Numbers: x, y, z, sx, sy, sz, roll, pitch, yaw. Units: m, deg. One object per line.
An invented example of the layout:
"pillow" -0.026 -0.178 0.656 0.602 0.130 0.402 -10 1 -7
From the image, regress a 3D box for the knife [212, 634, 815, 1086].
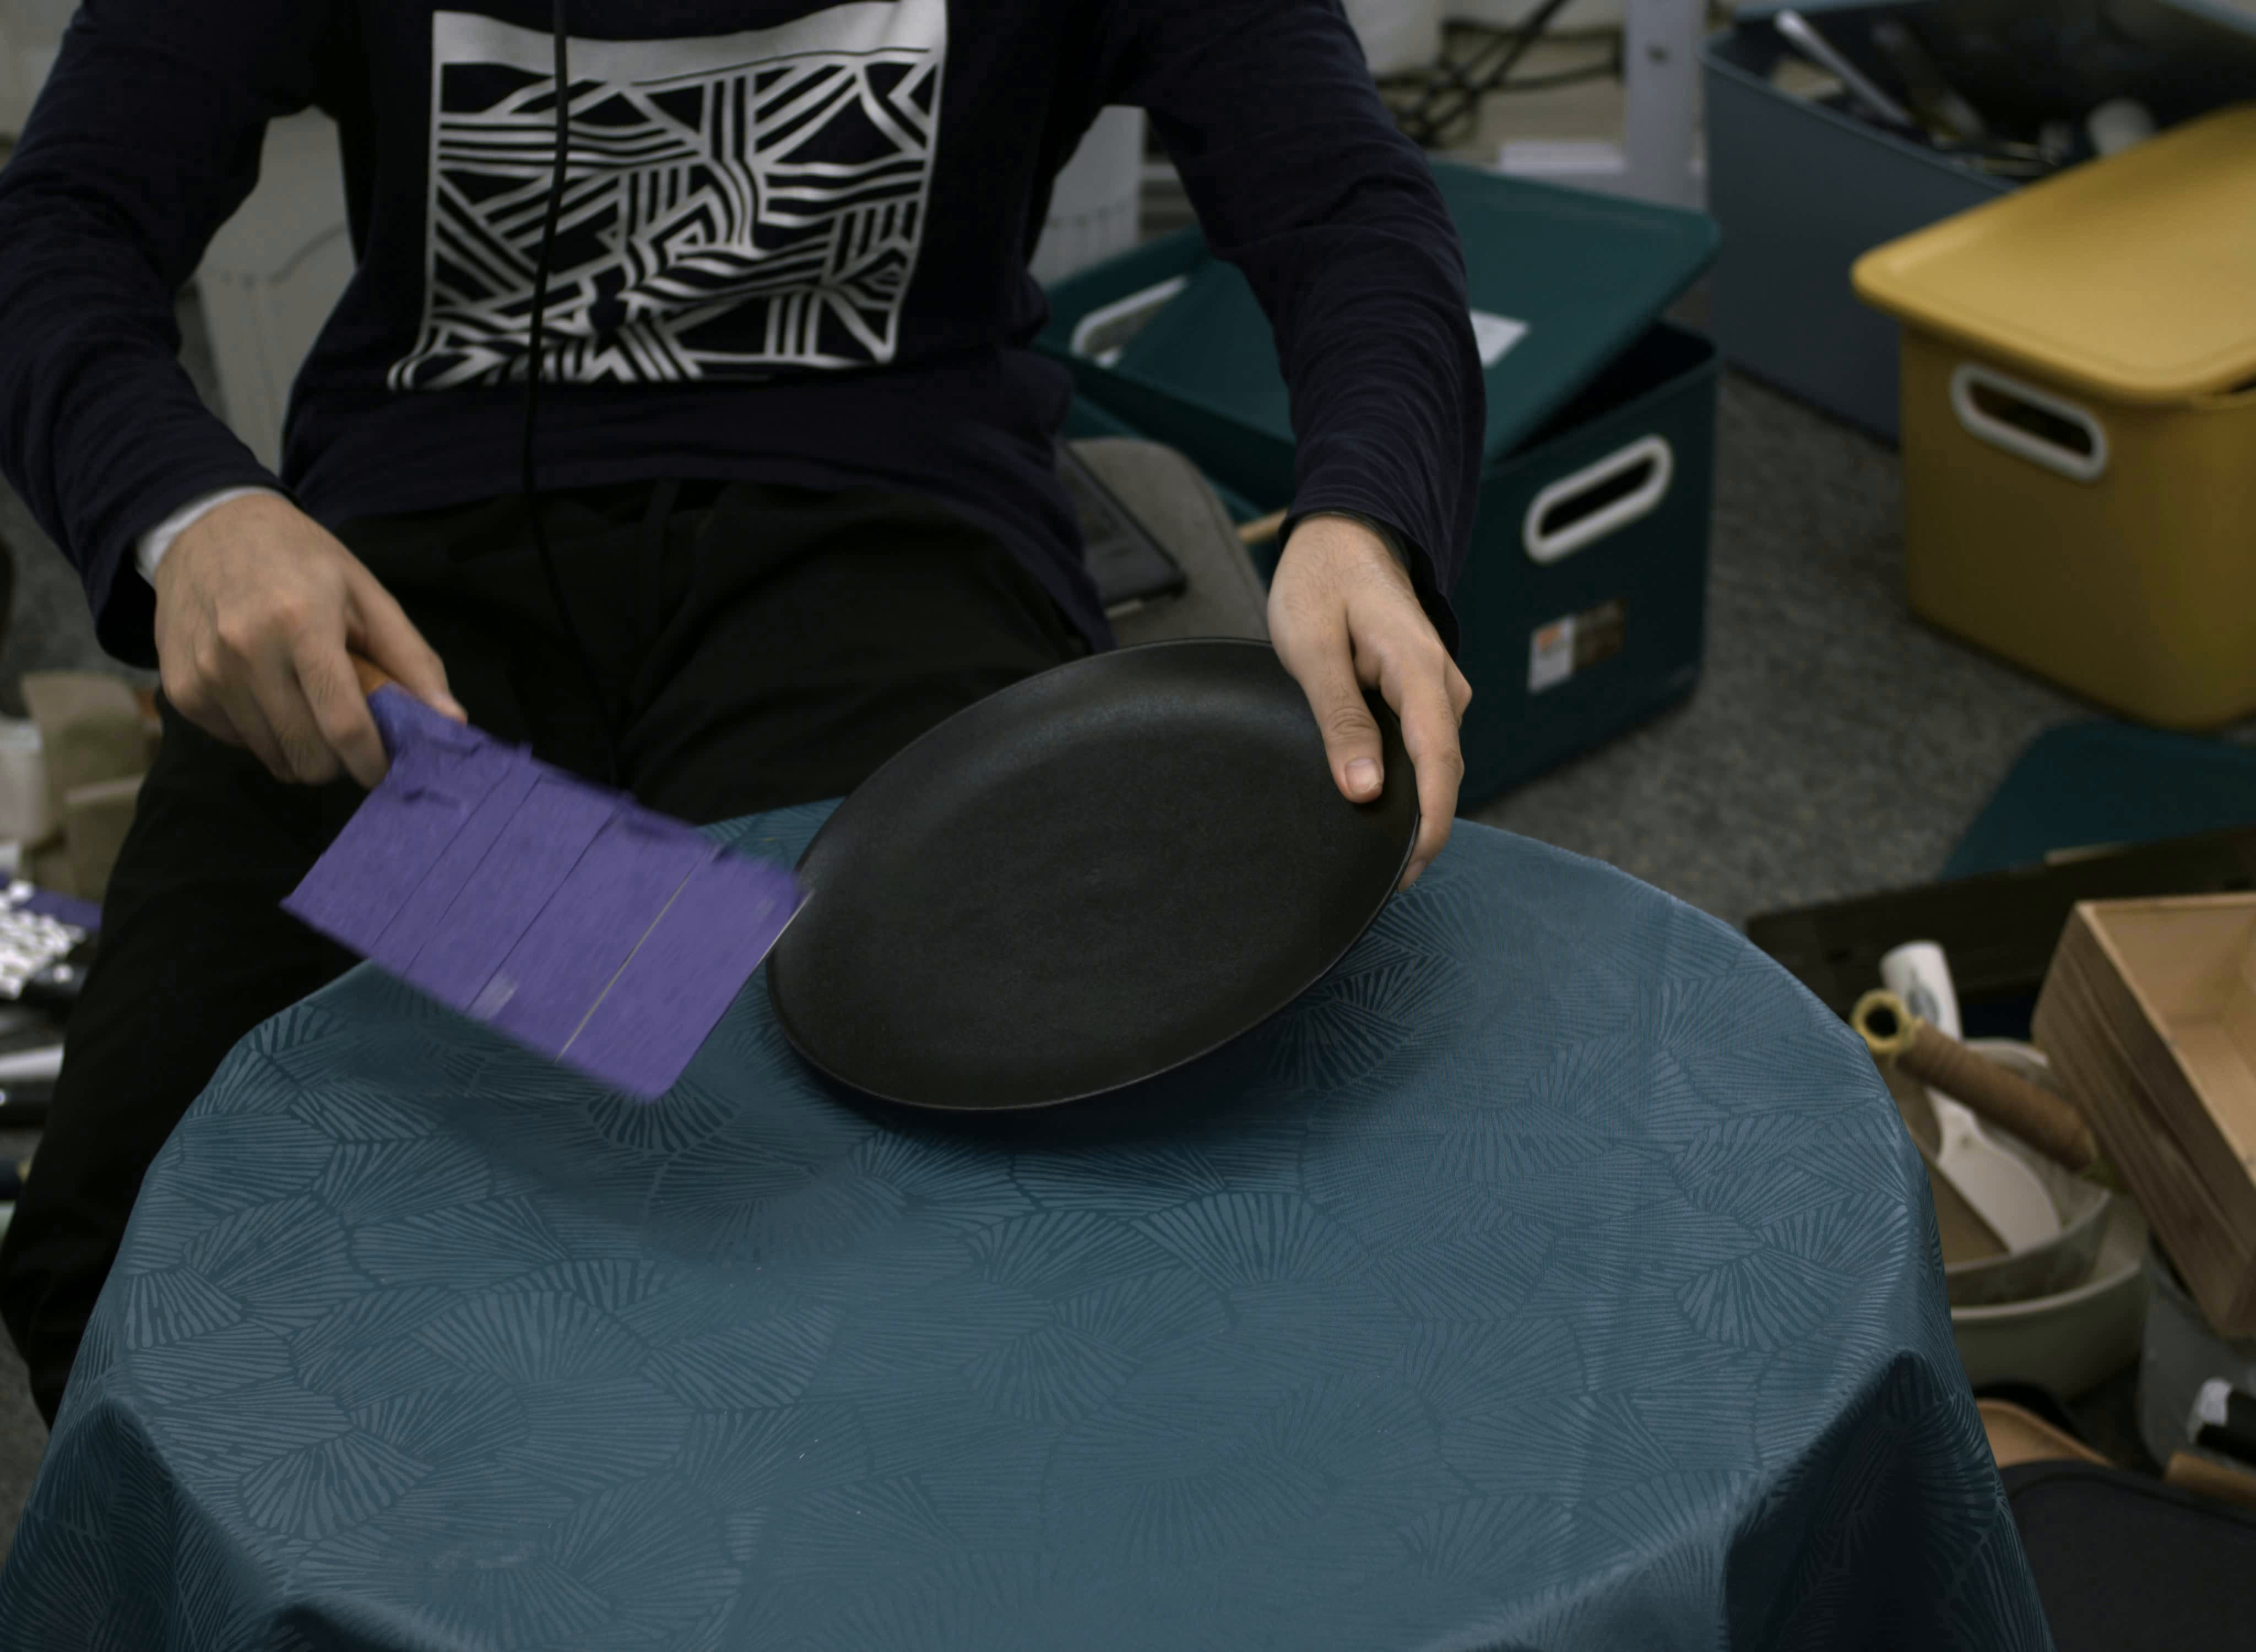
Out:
"knife" -0.235 0.010 1.928 0.315 0.032 0.105 22 67 44

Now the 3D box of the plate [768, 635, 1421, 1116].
"plate" -0.011 0.020 1.970 0.242 0.023 0.249 -15 37 12
